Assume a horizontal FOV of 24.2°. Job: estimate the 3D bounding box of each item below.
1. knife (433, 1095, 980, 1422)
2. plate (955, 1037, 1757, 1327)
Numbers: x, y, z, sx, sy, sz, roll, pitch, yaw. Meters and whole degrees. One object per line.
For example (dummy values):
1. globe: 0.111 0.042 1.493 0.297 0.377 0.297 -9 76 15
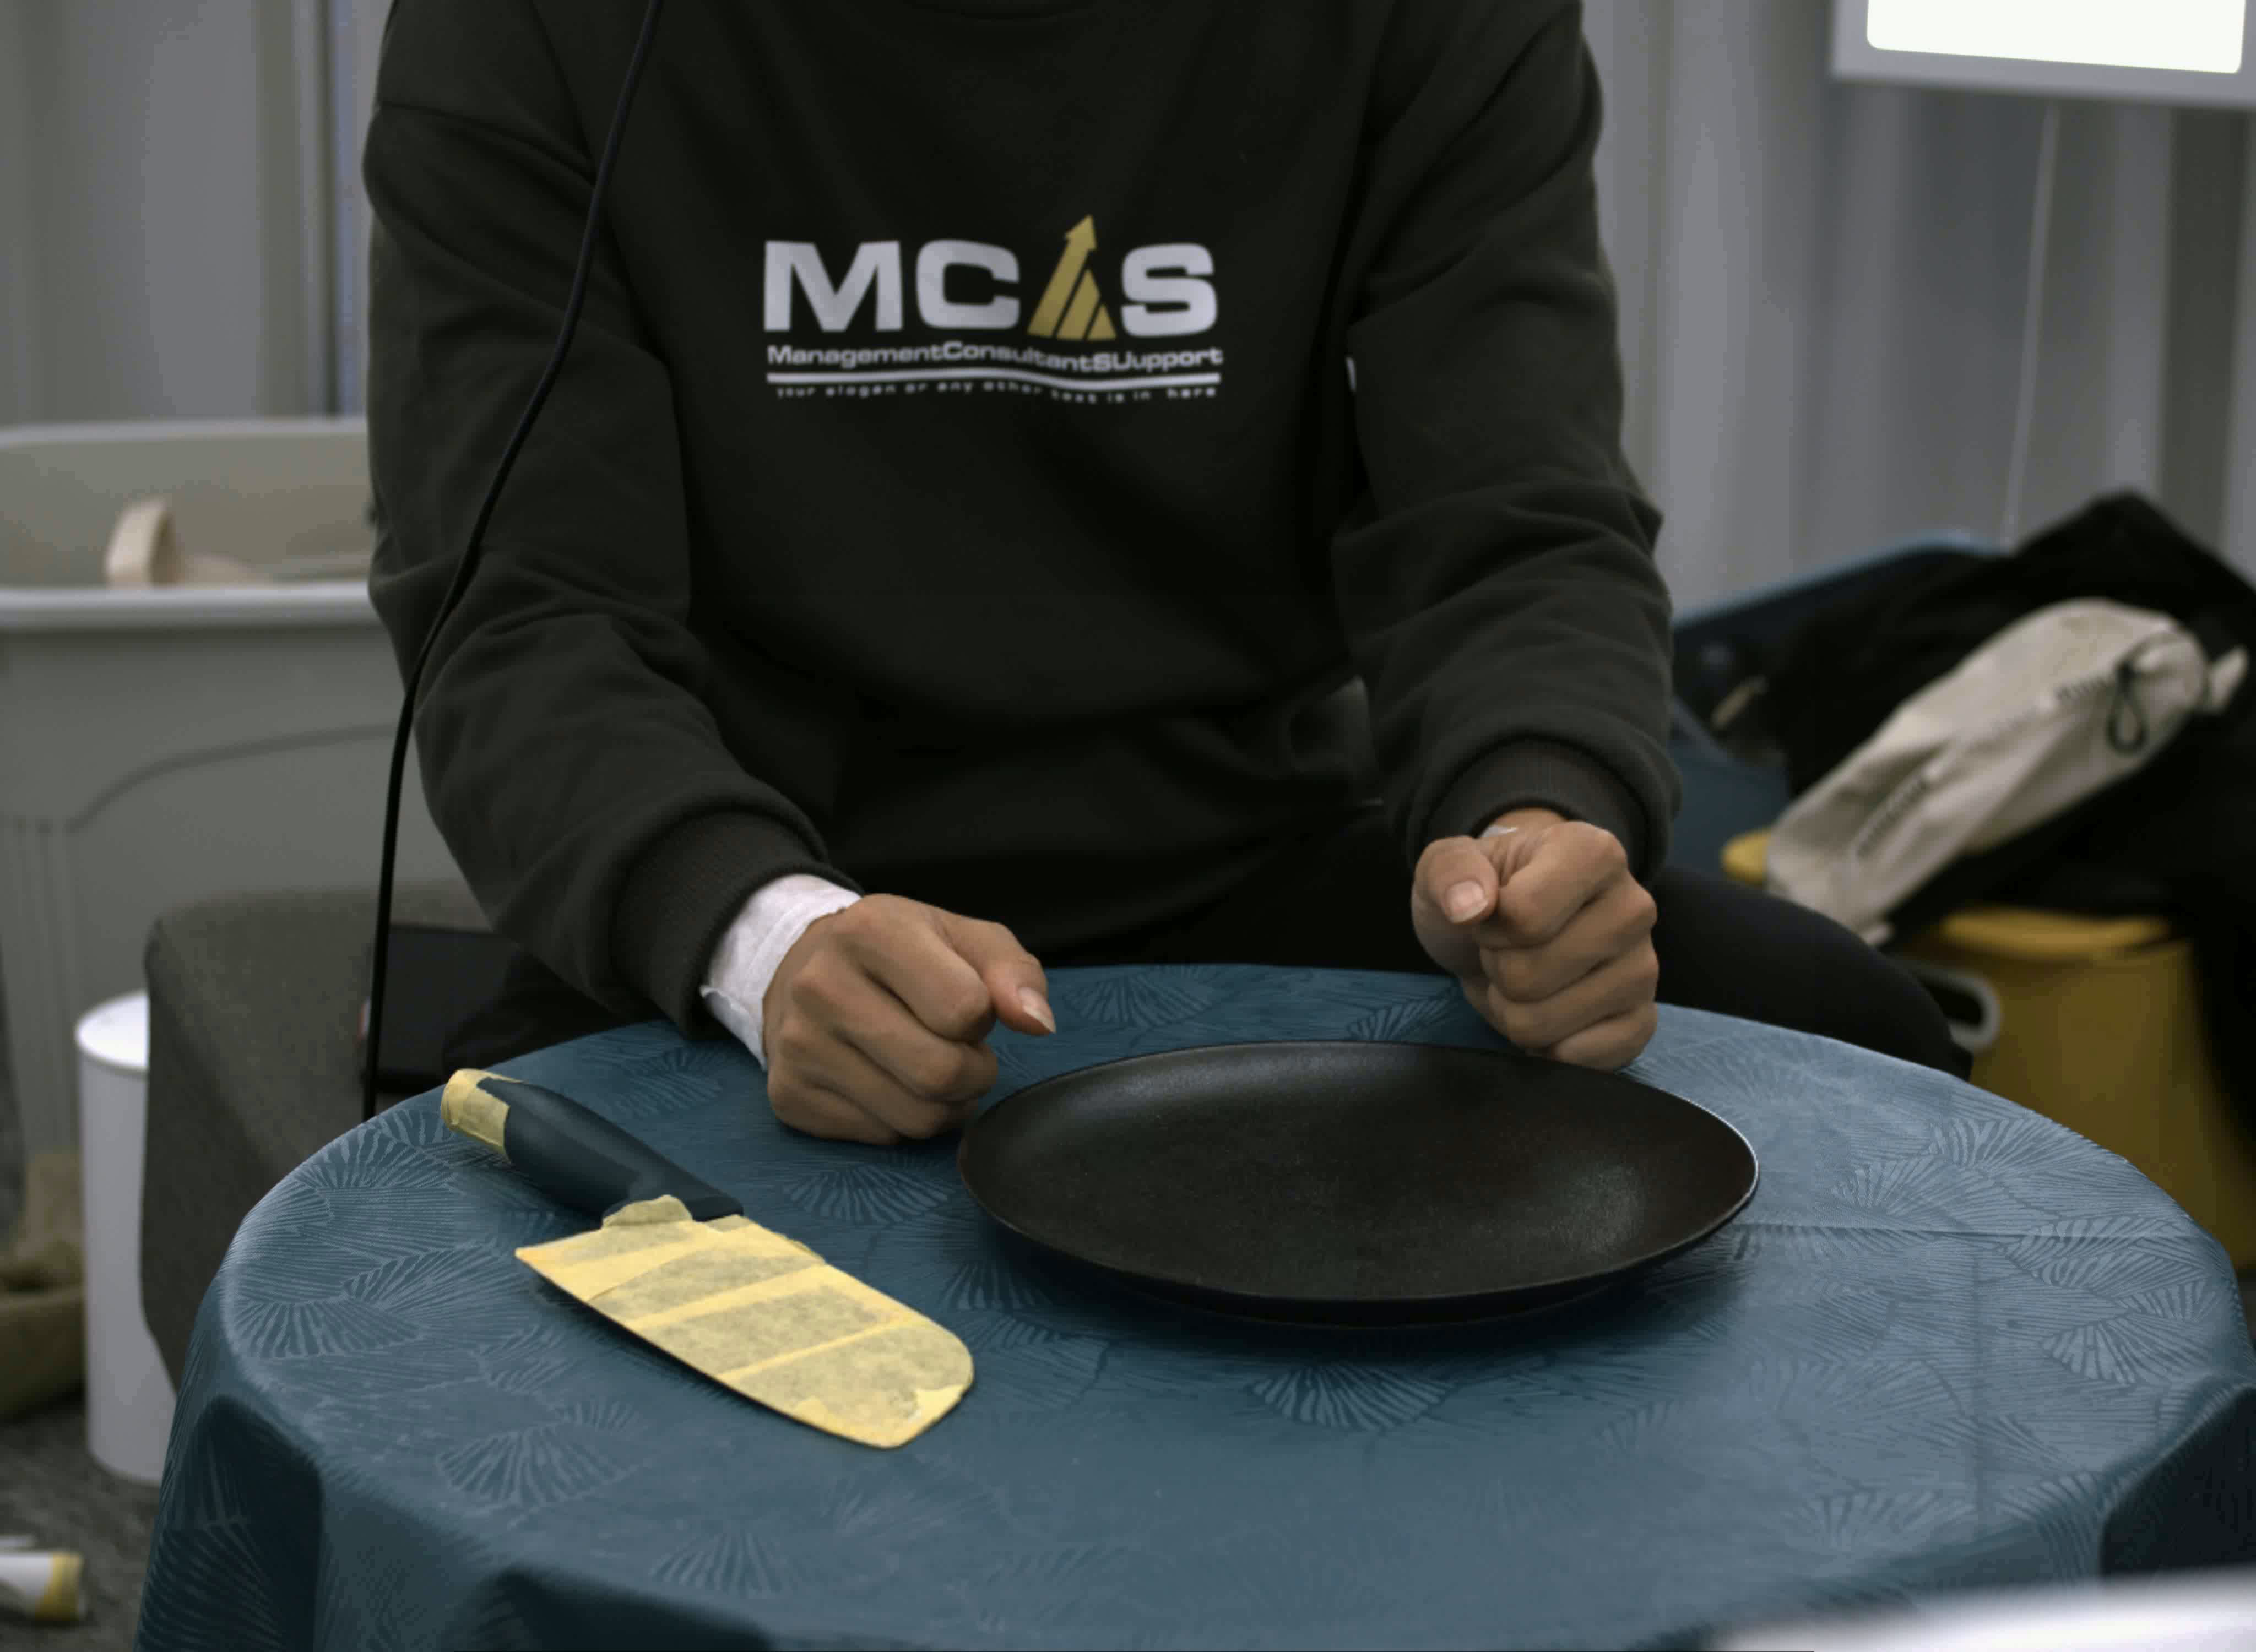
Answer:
1. knife: -0.136 0.127 1.539 0.081 0.027 0.285 -9 19 -35
2. plate: 0.068 0.110 1.593 0.243 0.023 0.243 1 15 0
